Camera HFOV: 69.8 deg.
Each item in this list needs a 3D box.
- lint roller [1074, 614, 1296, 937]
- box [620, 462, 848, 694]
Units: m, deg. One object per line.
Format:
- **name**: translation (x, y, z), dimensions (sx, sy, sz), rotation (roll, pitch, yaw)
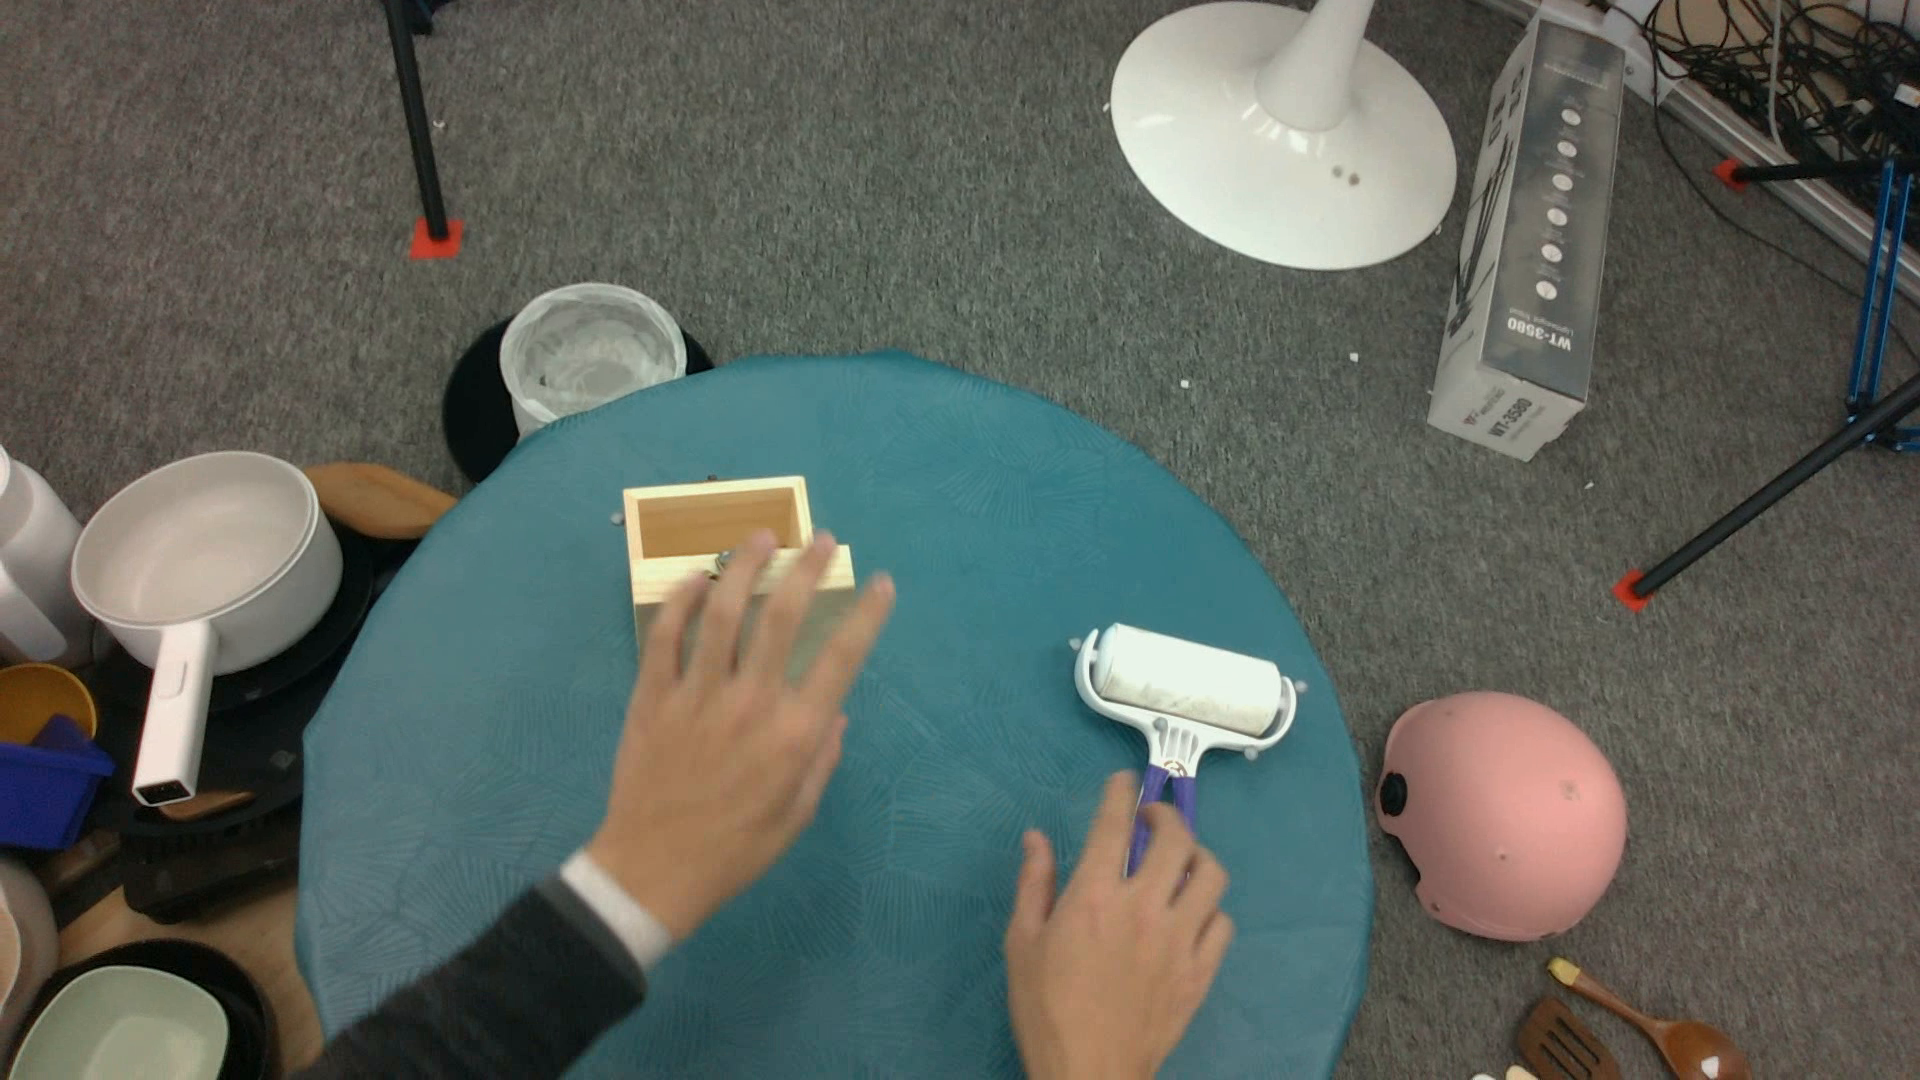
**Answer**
- **lint roller**: translation (0.121, 0.133, 0.790), dimensions (0.133, 0.050, 0.181), rotation (16, 58, -4)
- **box**: translation (-0.126, 0.007, 0.731), dimensions (0.103, 0.183, 0.134), rotation (-5, 64, -14)
